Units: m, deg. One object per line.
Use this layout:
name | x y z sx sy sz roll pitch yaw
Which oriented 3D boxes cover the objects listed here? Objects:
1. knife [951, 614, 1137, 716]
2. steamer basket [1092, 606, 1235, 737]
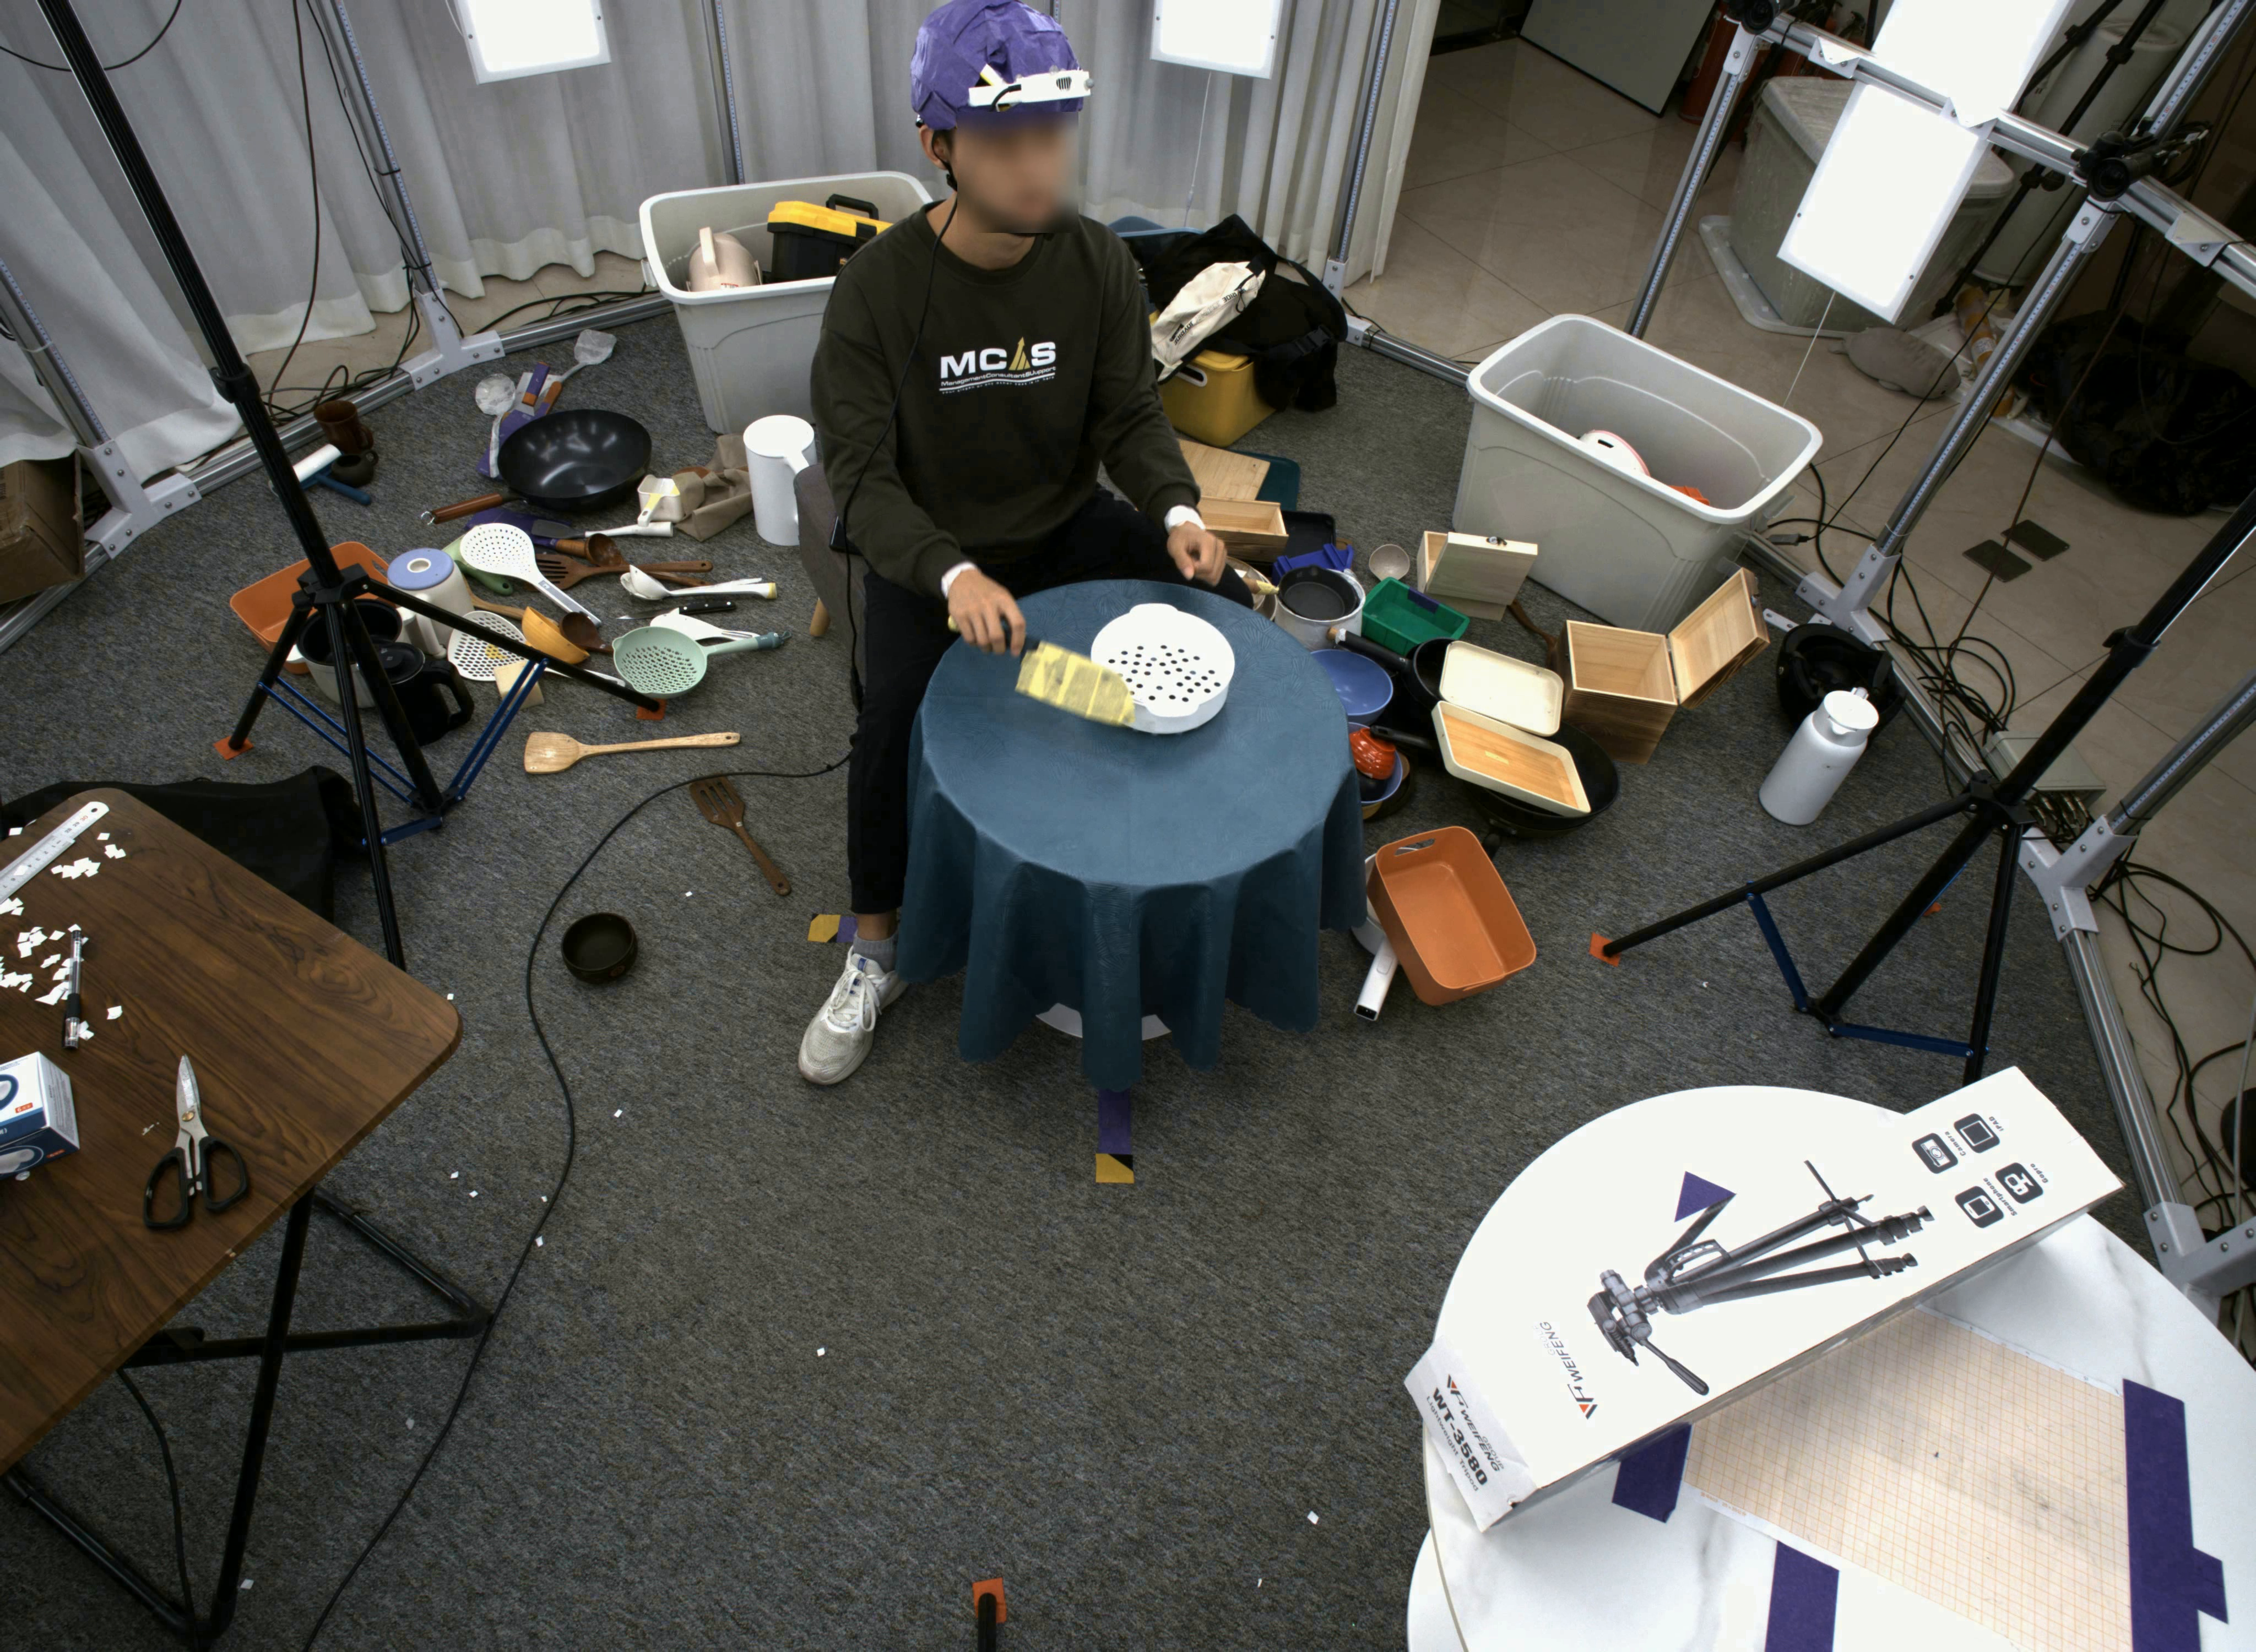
knife | -0.115 -0.217 1.718 0.292 0.080 0.027 25 13 17
steamer basket | 0.048 -0.214 1.812 0.201 0.067 0.236 -2 49 -7
